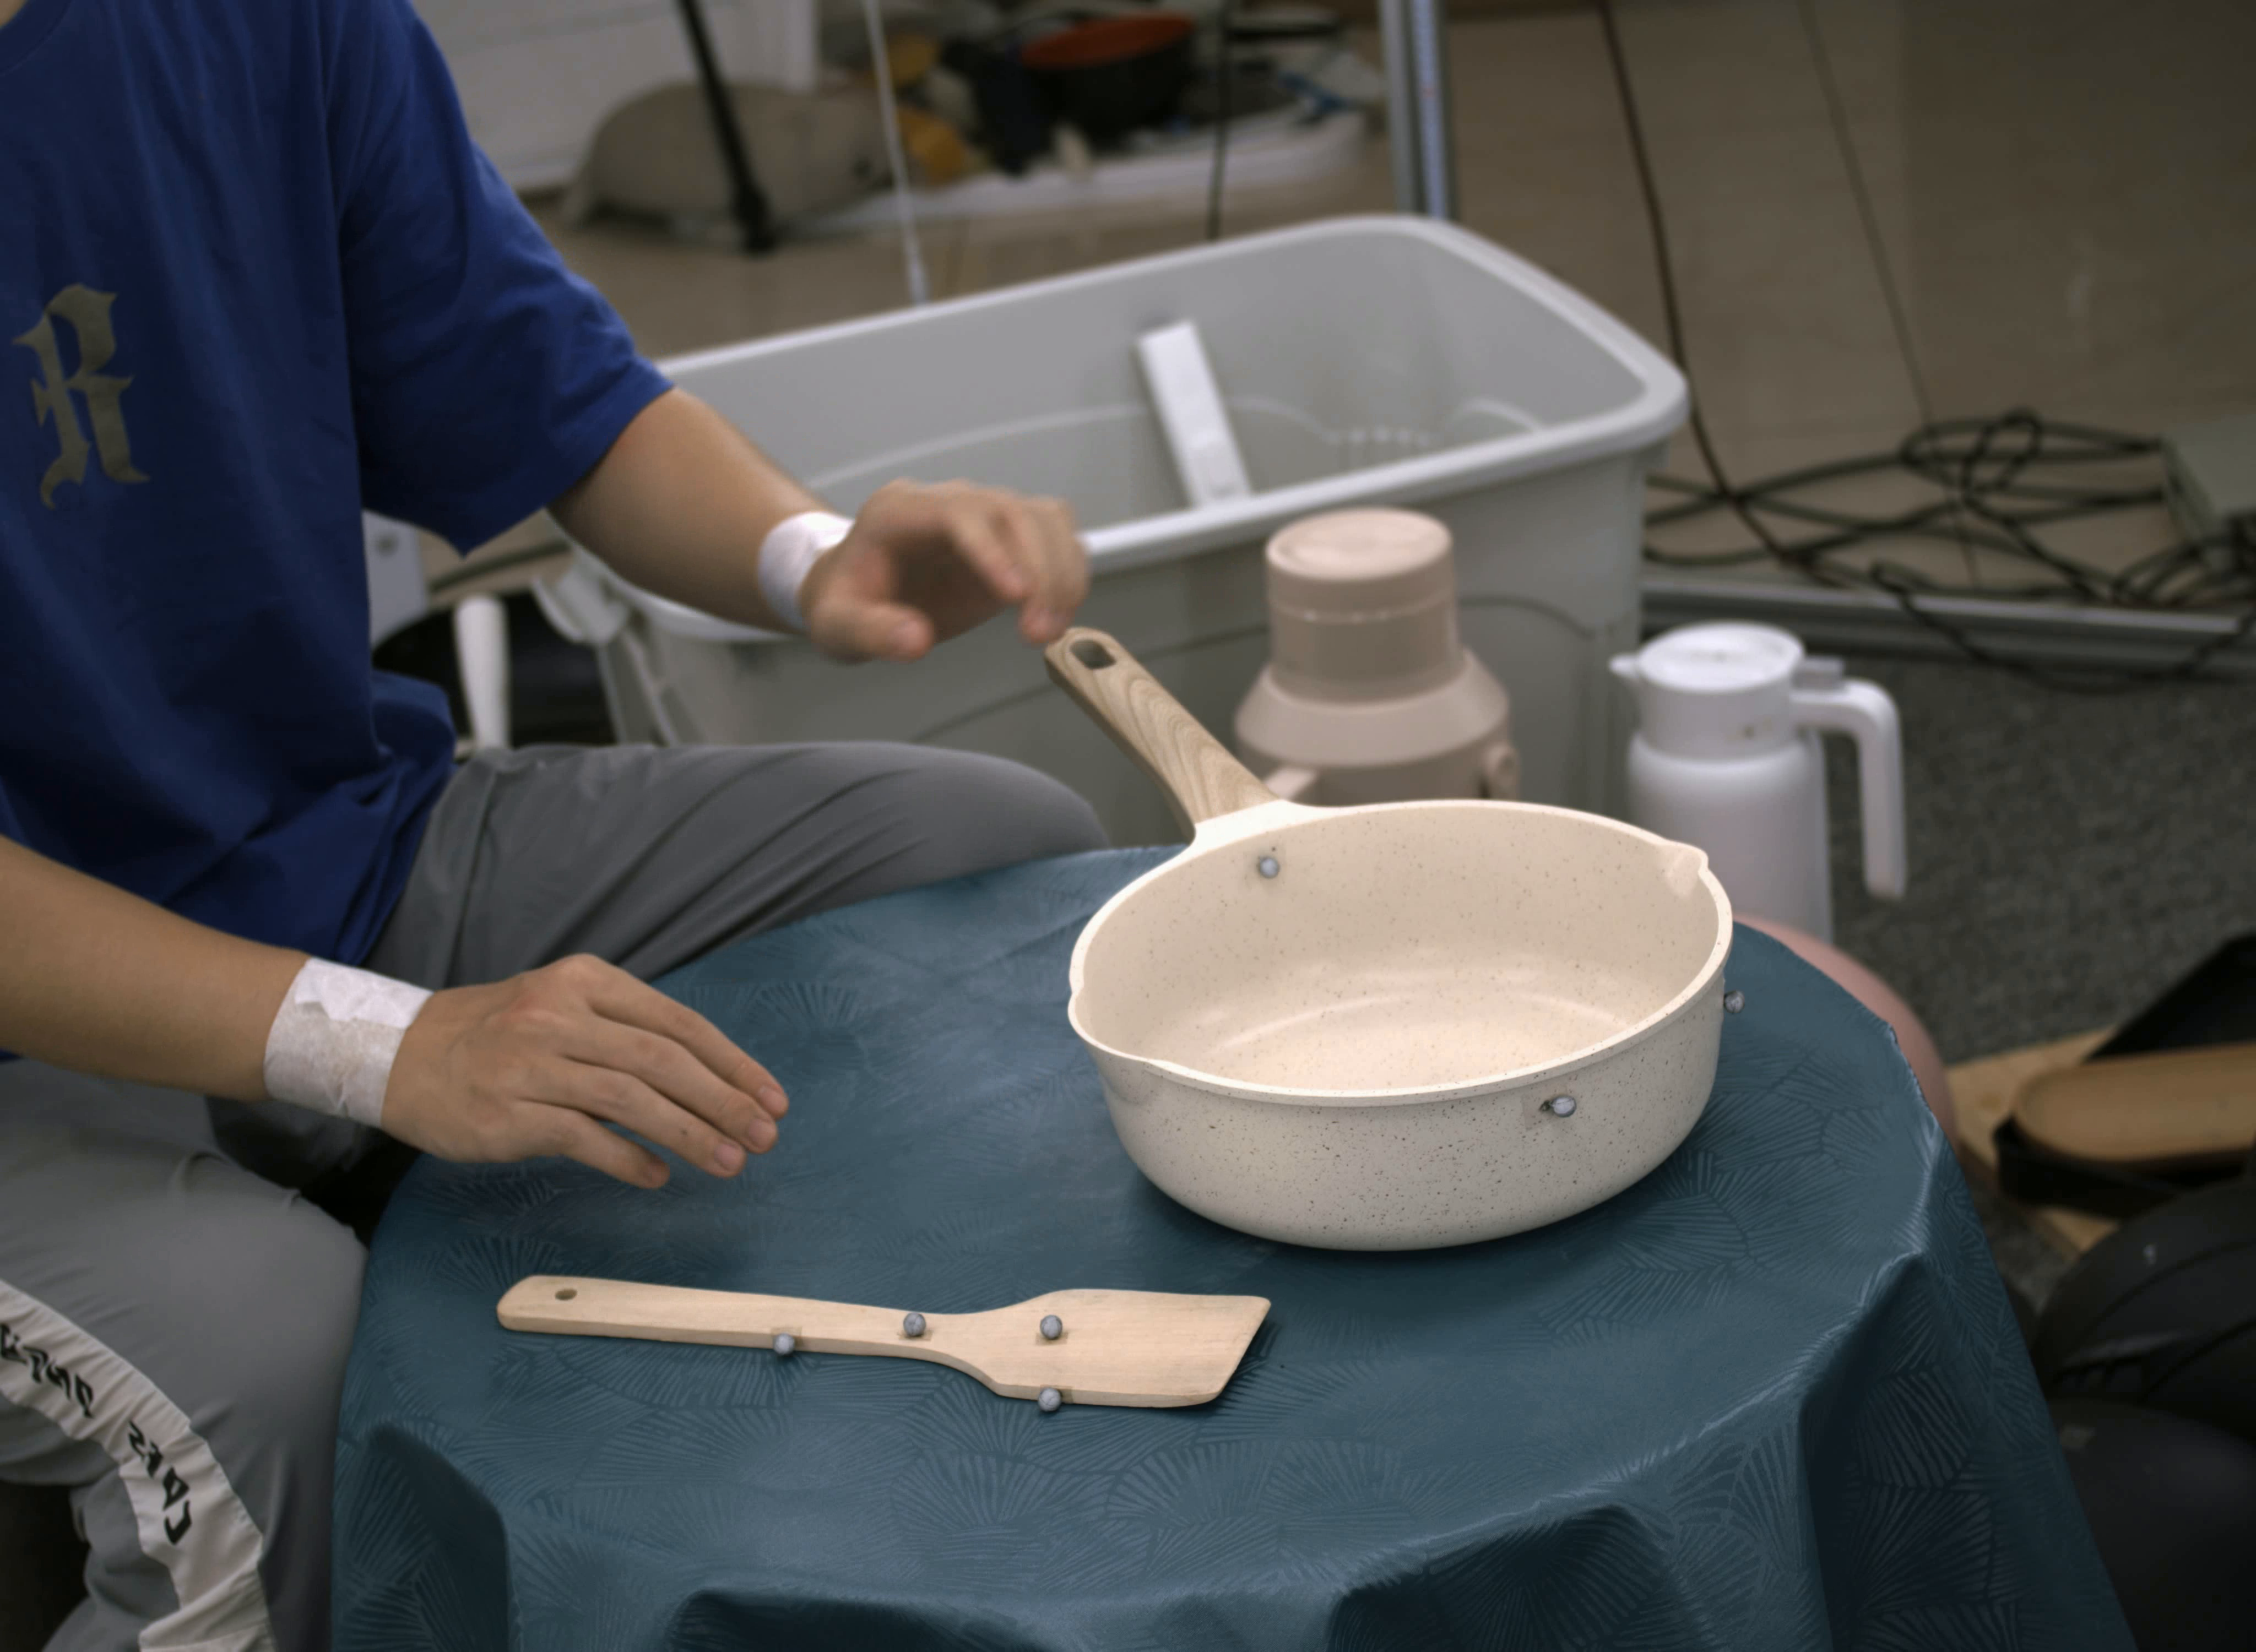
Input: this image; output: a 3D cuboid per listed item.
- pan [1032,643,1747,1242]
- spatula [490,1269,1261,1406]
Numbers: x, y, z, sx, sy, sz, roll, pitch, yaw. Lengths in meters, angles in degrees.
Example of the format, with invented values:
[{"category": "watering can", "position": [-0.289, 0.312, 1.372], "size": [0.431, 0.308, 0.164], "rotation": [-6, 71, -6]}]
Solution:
[{"category": "pan", "position": [0.072, 0.039, 2.224], "size": [0.262, 0.103, 0.430], "rotation": [-18, 27, -20]}, {"category": "spatula", "position": [-0.098, 0.182, 2.067], "size": [0.292, 0.011, 0.071], "rotation": [3, 28, 19]}]
